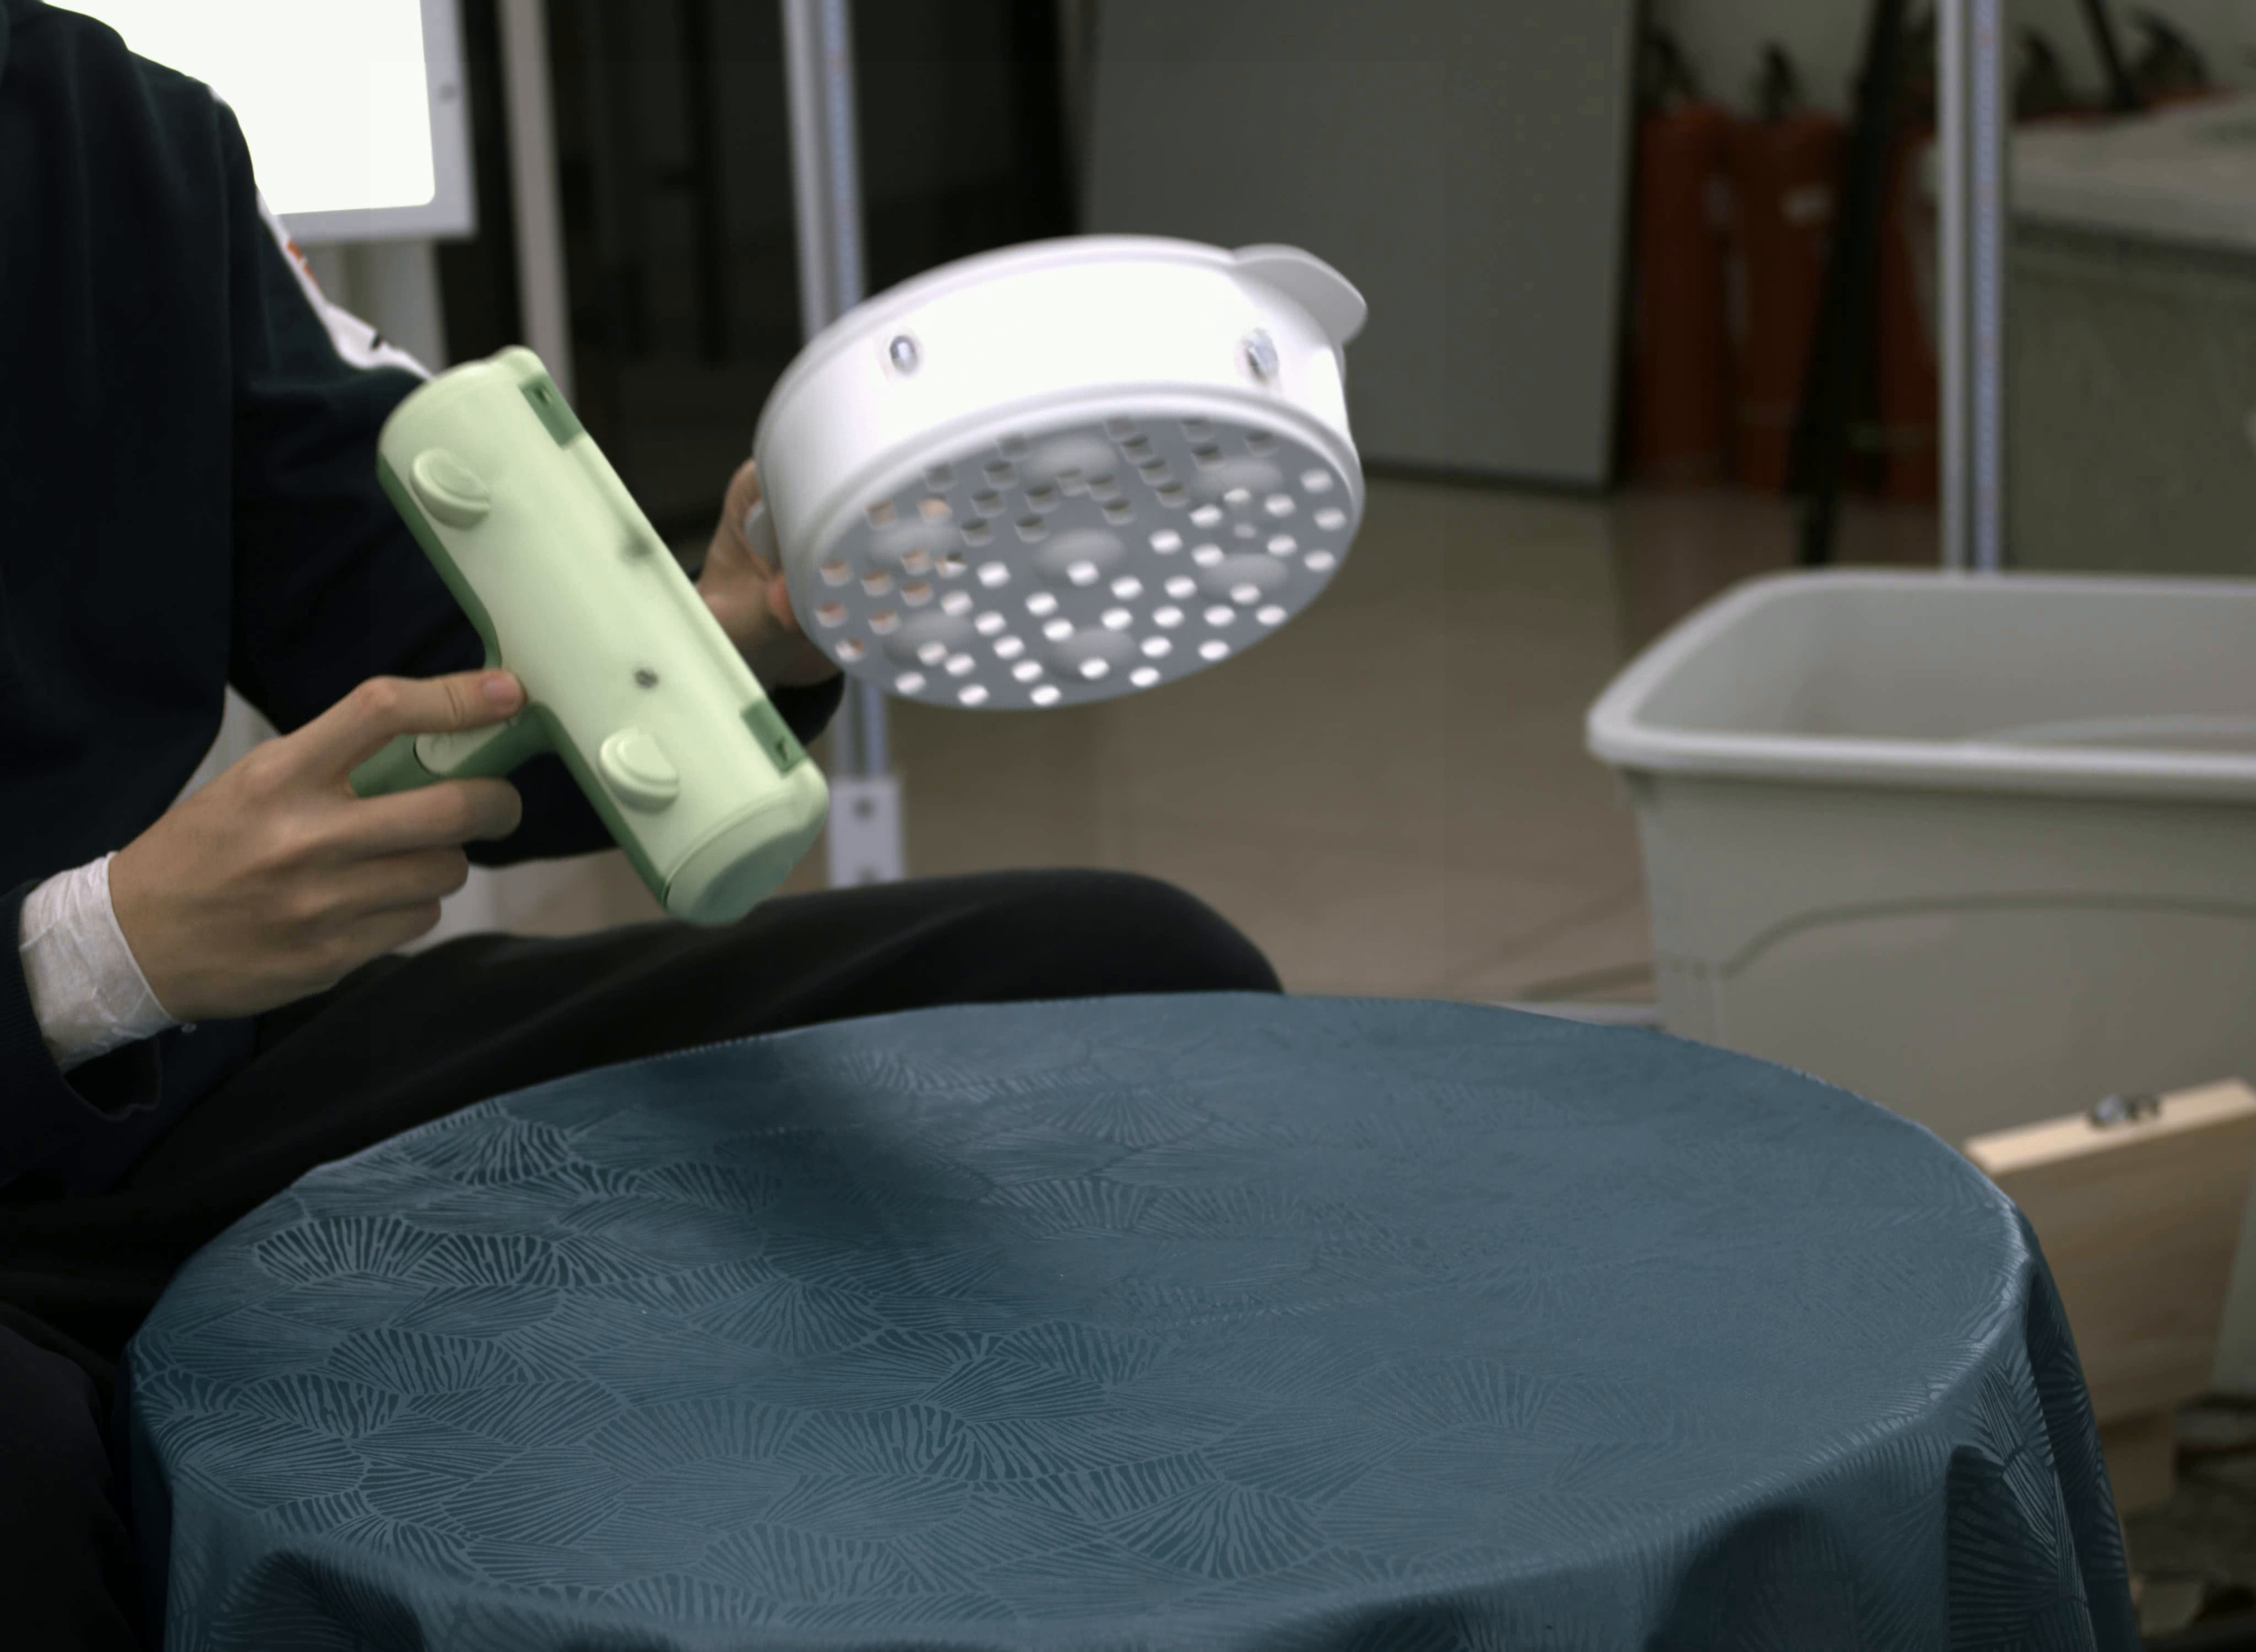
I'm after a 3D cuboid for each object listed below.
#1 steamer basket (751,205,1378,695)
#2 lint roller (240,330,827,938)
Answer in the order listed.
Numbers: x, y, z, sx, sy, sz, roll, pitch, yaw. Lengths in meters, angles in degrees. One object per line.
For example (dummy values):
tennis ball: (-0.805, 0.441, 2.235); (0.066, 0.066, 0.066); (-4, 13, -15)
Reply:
steamer basket: (-0.018, -0.118, 1.779); (0.231, 0.070, 0.198); (-25, -32, 25)
lint roller: (-0.214, -0.031, 1.697); (0.183, 0.200, 0.081); (-37, -20, 2)
